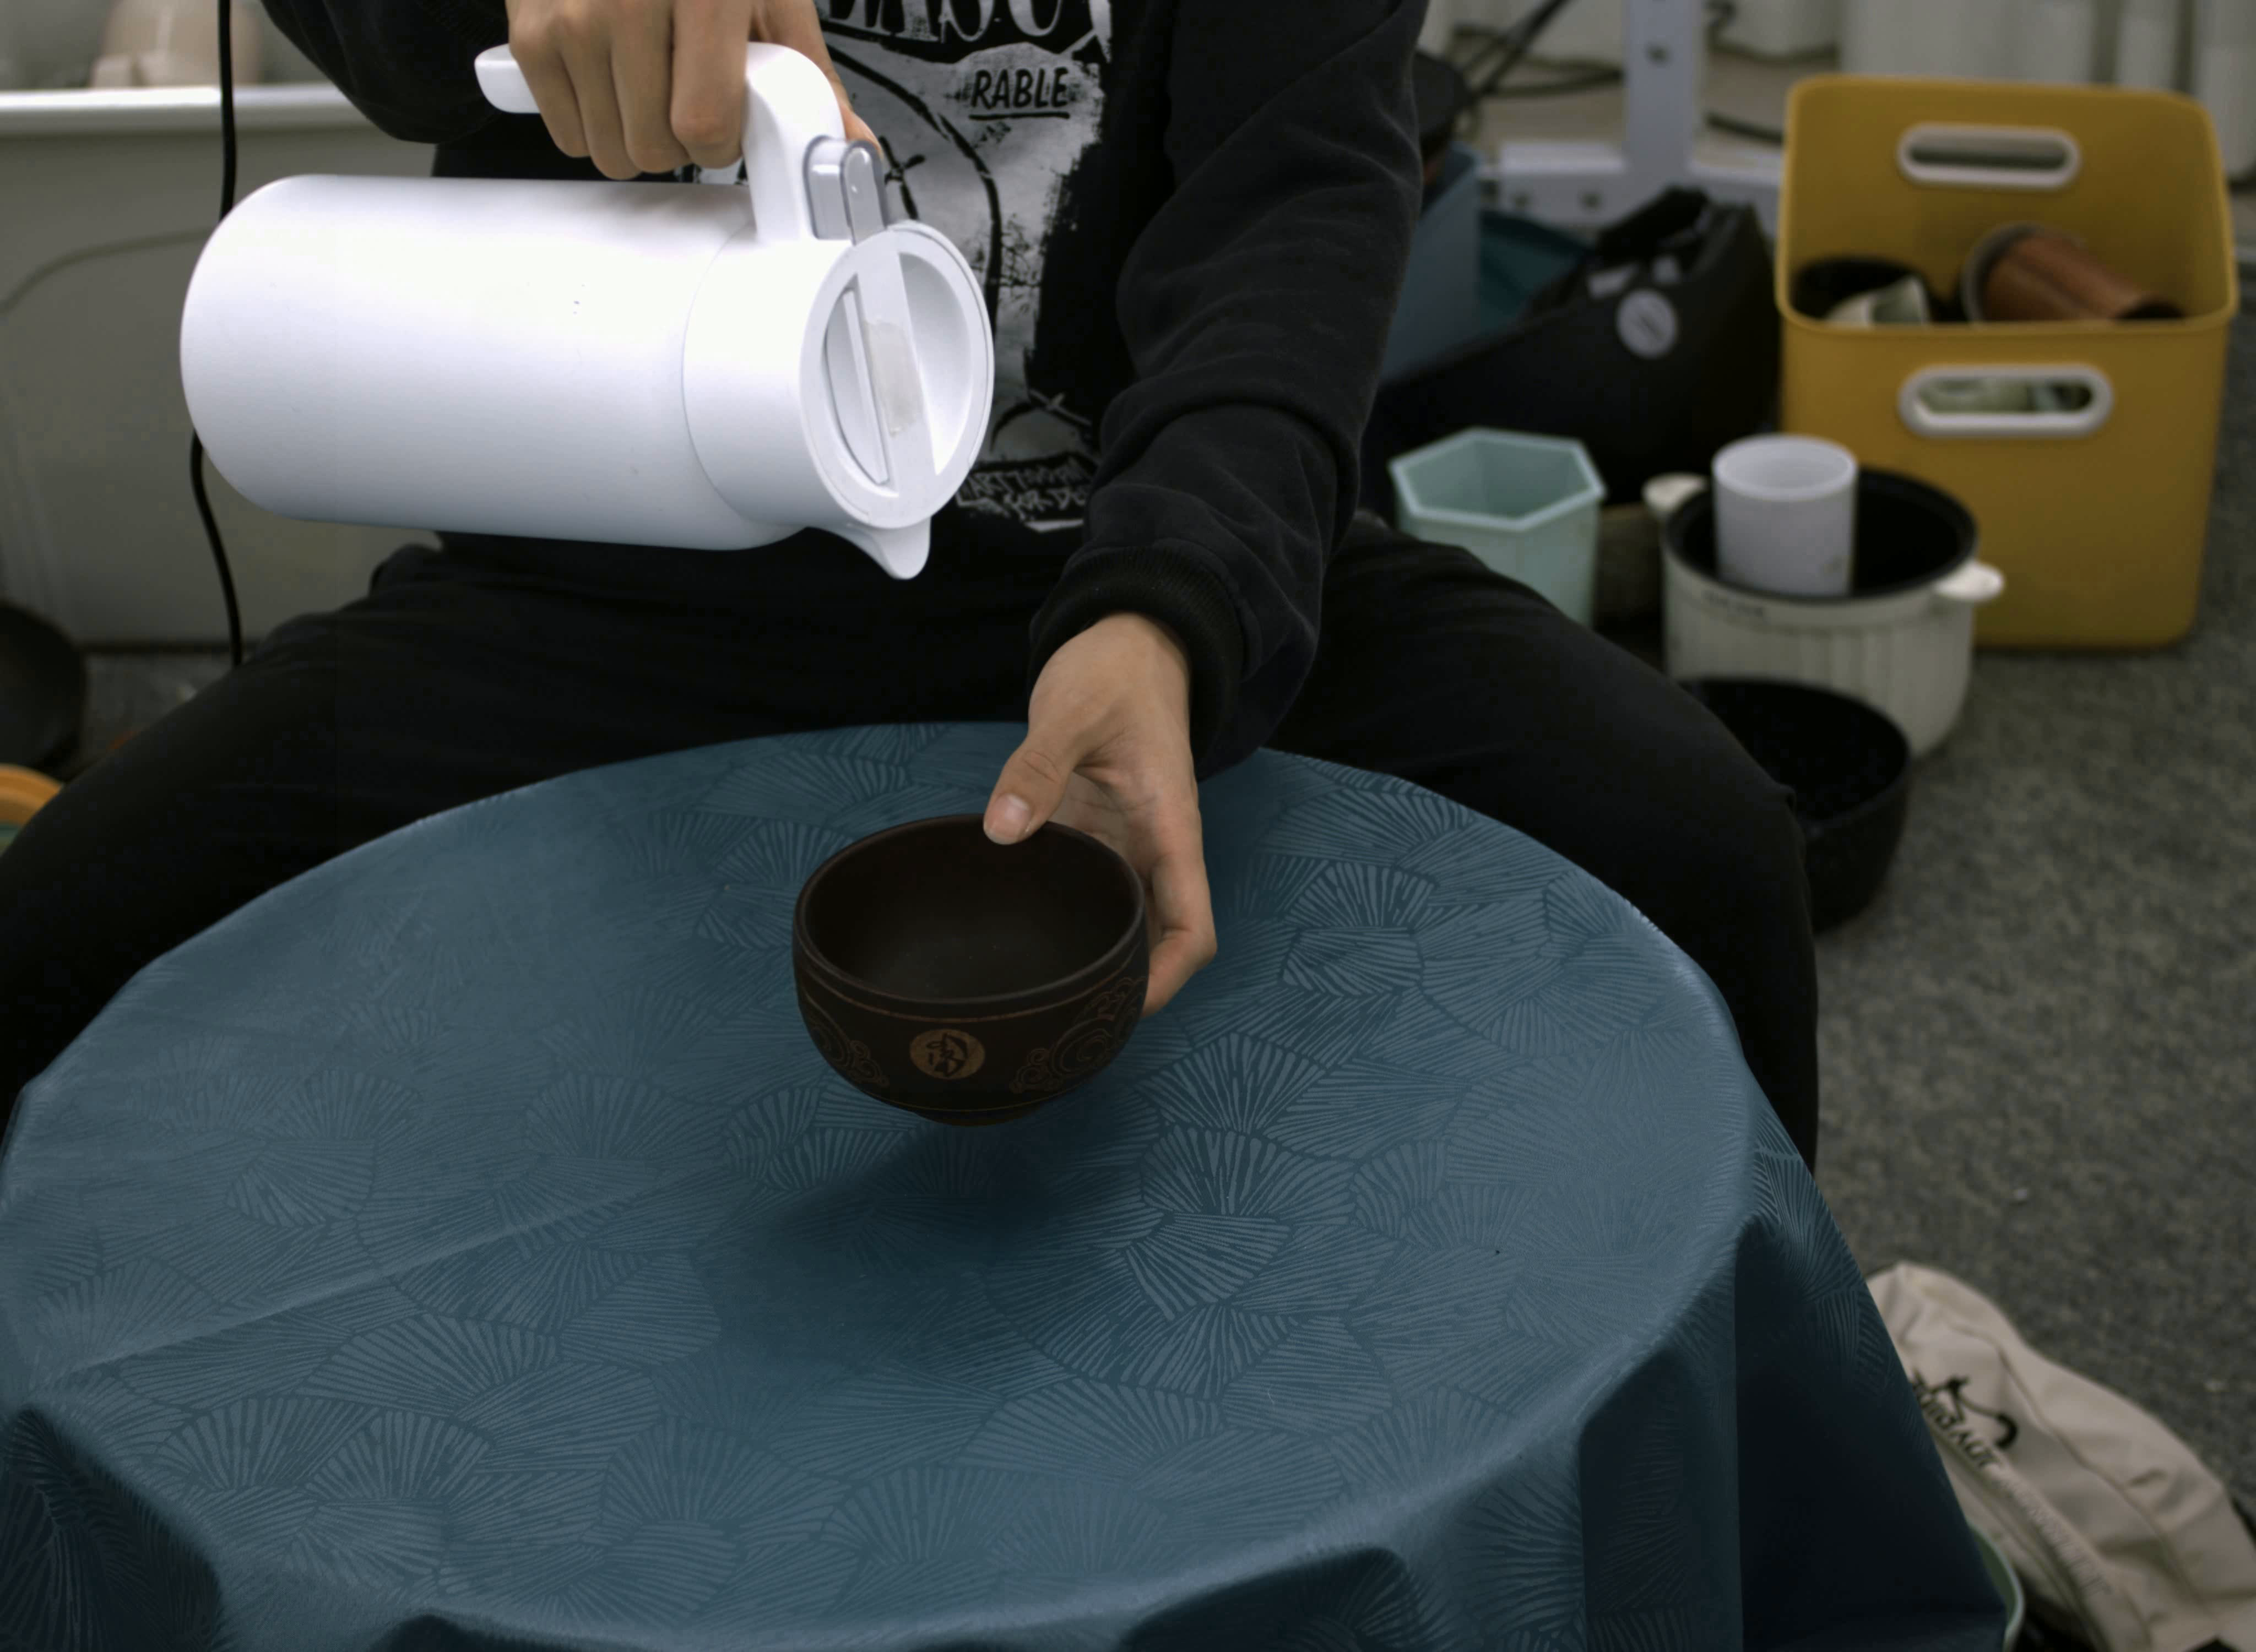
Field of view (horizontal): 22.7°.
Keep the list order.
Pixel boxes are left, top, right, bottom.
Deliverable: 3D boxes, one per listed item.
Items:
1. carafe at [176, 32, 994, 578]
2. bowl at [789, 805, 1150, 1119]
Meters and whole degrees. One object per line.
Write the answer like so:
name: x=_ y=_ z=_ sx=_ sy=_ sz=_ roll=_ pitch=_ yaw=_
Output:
carafe: x=-0.181 y=-0.169 z=1.826 sx=0.267 sy=0.171 sz=0.125 roll=7 pitch=26 yaw=37
bowl: x=-0.051 y=0.052 z=1.836 sx=0.117 sy=0.069 sz=0.120 roll=-2 pitch=30 yaw=1
